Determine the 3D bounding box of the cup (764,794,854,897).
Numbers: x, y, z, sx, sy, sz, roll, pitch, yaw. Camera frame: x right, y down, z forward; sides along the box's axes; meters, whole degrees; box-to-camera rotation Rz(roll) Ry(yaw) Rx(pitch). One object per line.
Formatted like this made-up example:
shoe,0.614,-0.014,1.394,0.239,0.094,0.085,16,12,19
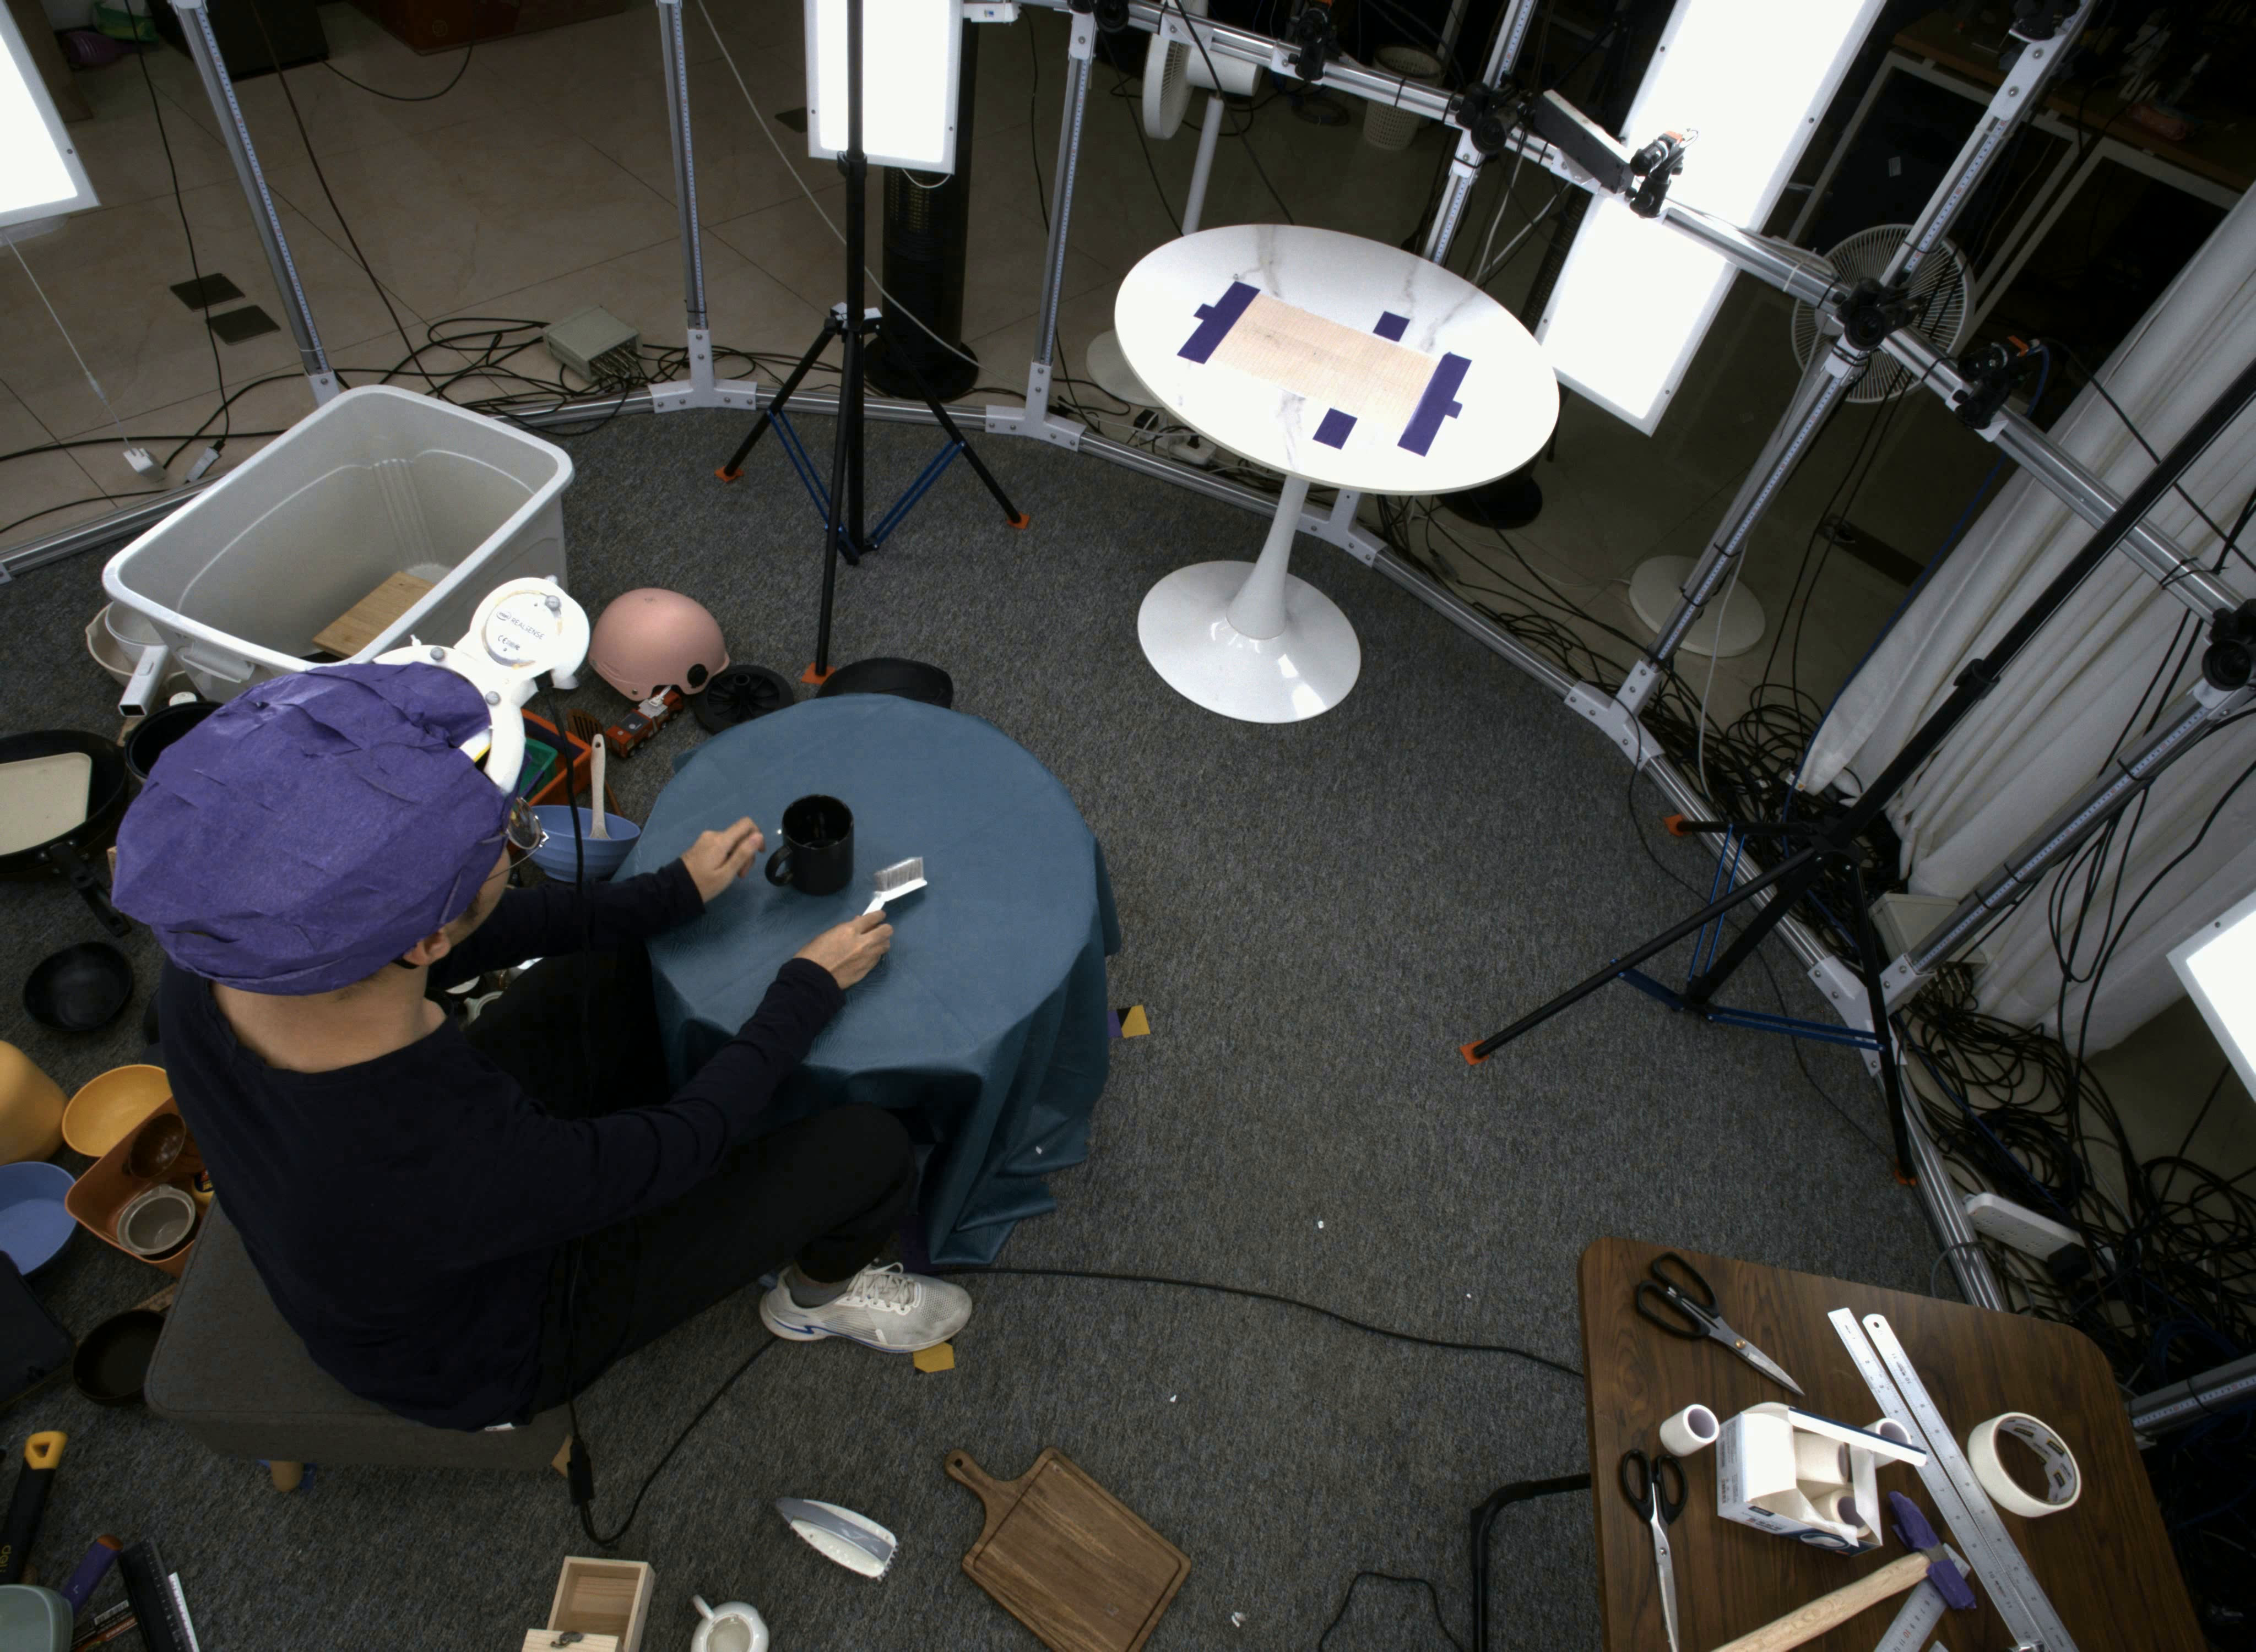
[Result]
cup,-0.406,0.033,1.639,0.124,0.107,0.087,-34,68,-30

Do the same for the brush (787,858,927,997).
brush,-0.343,0.118,1.626,0.033,0.052,0.243,10,42,44
